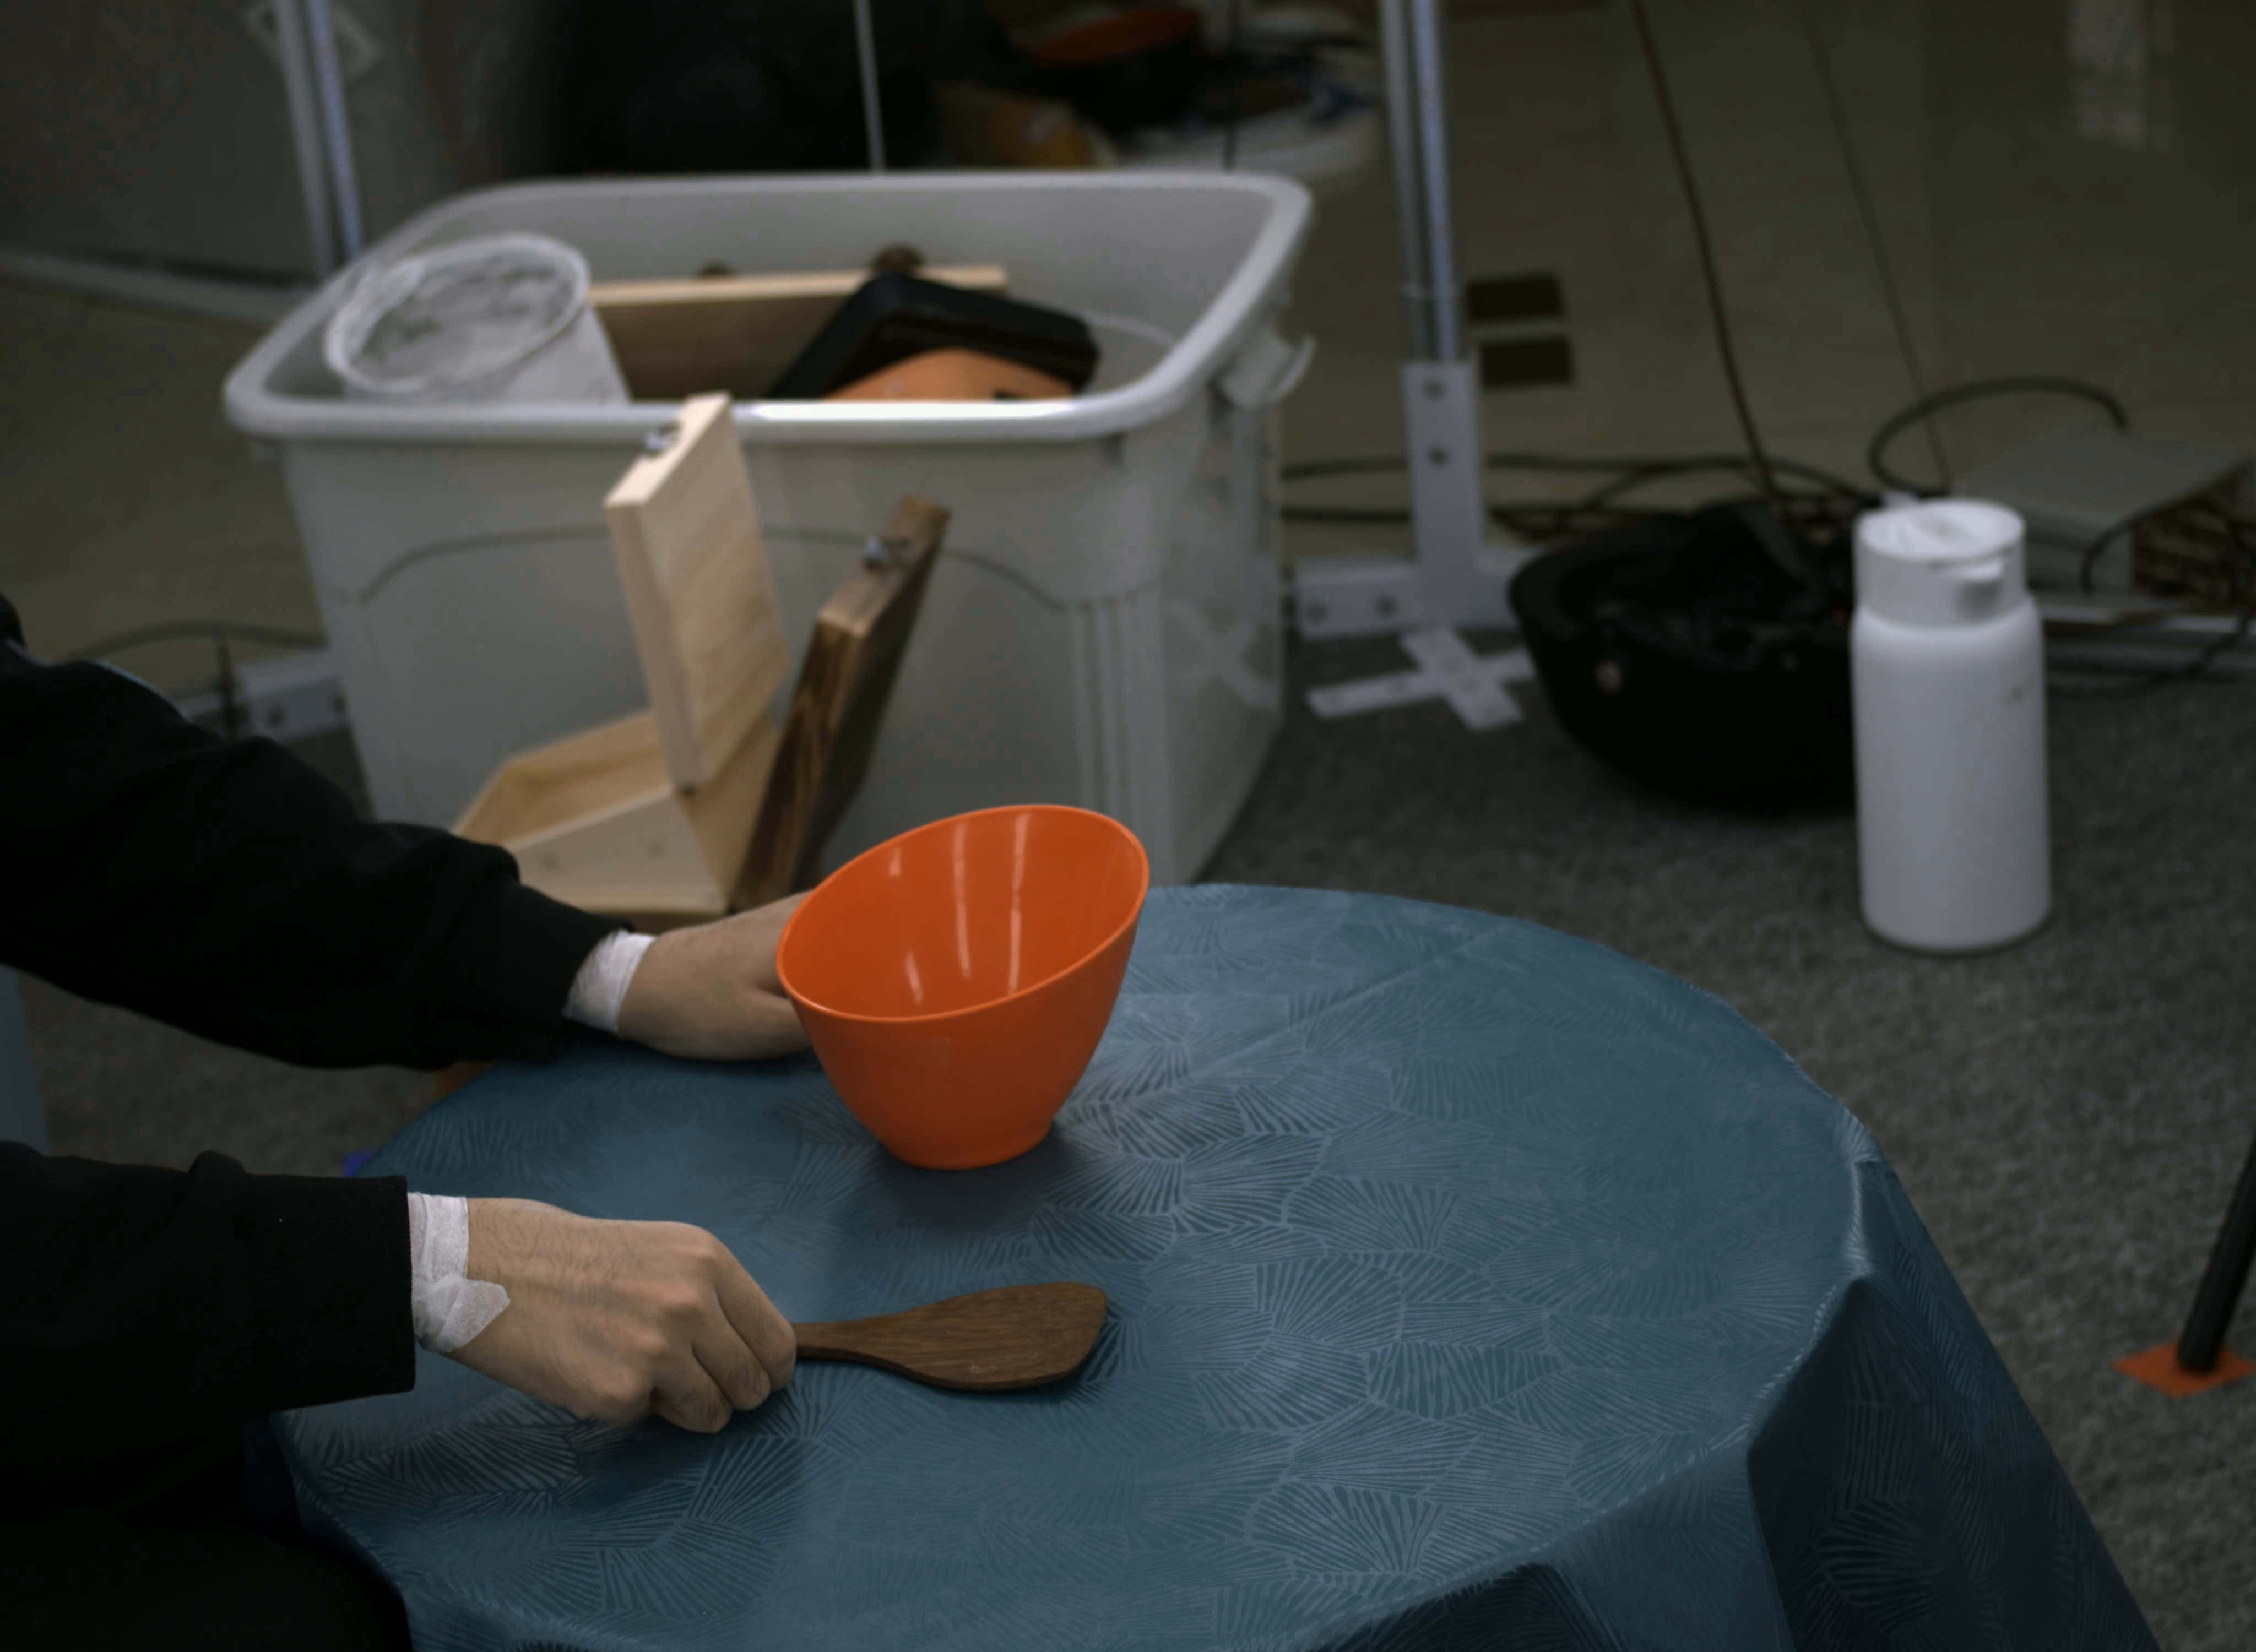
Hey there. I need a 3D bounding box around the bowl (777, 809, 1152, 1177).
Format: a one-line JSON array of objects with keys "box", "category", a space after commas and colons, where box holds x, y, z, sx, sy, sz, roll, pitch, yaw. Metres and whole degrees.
[{"box": [-0.058, 0.071, 2.193, 0.148, 0.106, 0.146, -6, 27, 3], "category": "bowl"}]

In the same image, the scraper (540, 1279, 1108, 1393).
[{"box": [-0.112, 0.188, 2.067, 0.211, 0.011, 0.075, -2, 24, 11], "category": "scraper"}]
